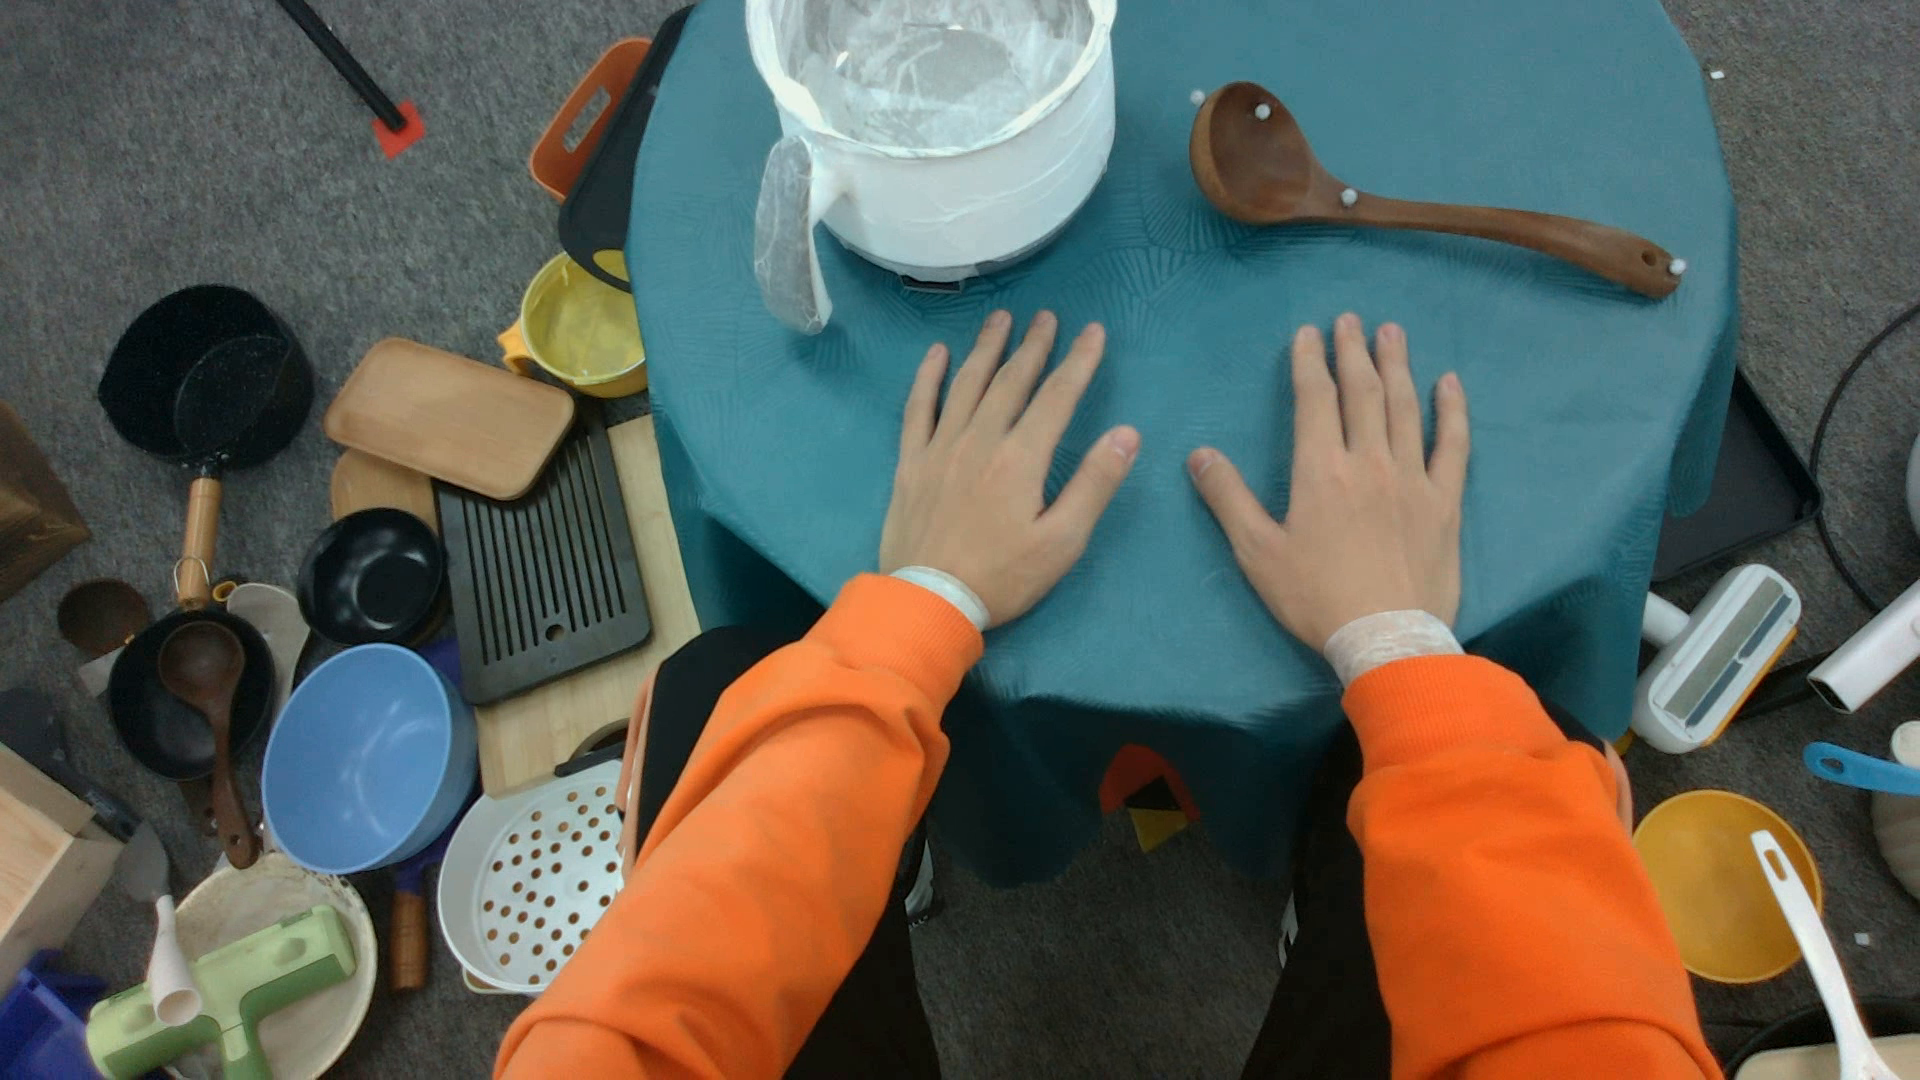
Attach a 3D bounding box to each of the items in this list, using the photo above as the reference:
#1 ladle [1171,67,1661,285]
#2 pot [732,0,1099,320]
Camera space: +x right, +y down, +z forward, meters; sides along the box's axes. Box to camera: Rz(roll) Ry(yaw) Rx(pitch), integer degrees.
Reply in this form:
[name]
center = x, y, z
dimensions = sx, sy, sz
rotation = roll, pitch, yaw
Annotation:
[ladle]
center = 0.236, -0.182, 0.709
dimensions = 0.260, 0.065, 0.076
rotation = 16, 76, 10
[pot]
center = -0.033, -0.222, 0.707
dimensions = 0.179, 0.136, 0.234
rotation = 34, 77, 15
